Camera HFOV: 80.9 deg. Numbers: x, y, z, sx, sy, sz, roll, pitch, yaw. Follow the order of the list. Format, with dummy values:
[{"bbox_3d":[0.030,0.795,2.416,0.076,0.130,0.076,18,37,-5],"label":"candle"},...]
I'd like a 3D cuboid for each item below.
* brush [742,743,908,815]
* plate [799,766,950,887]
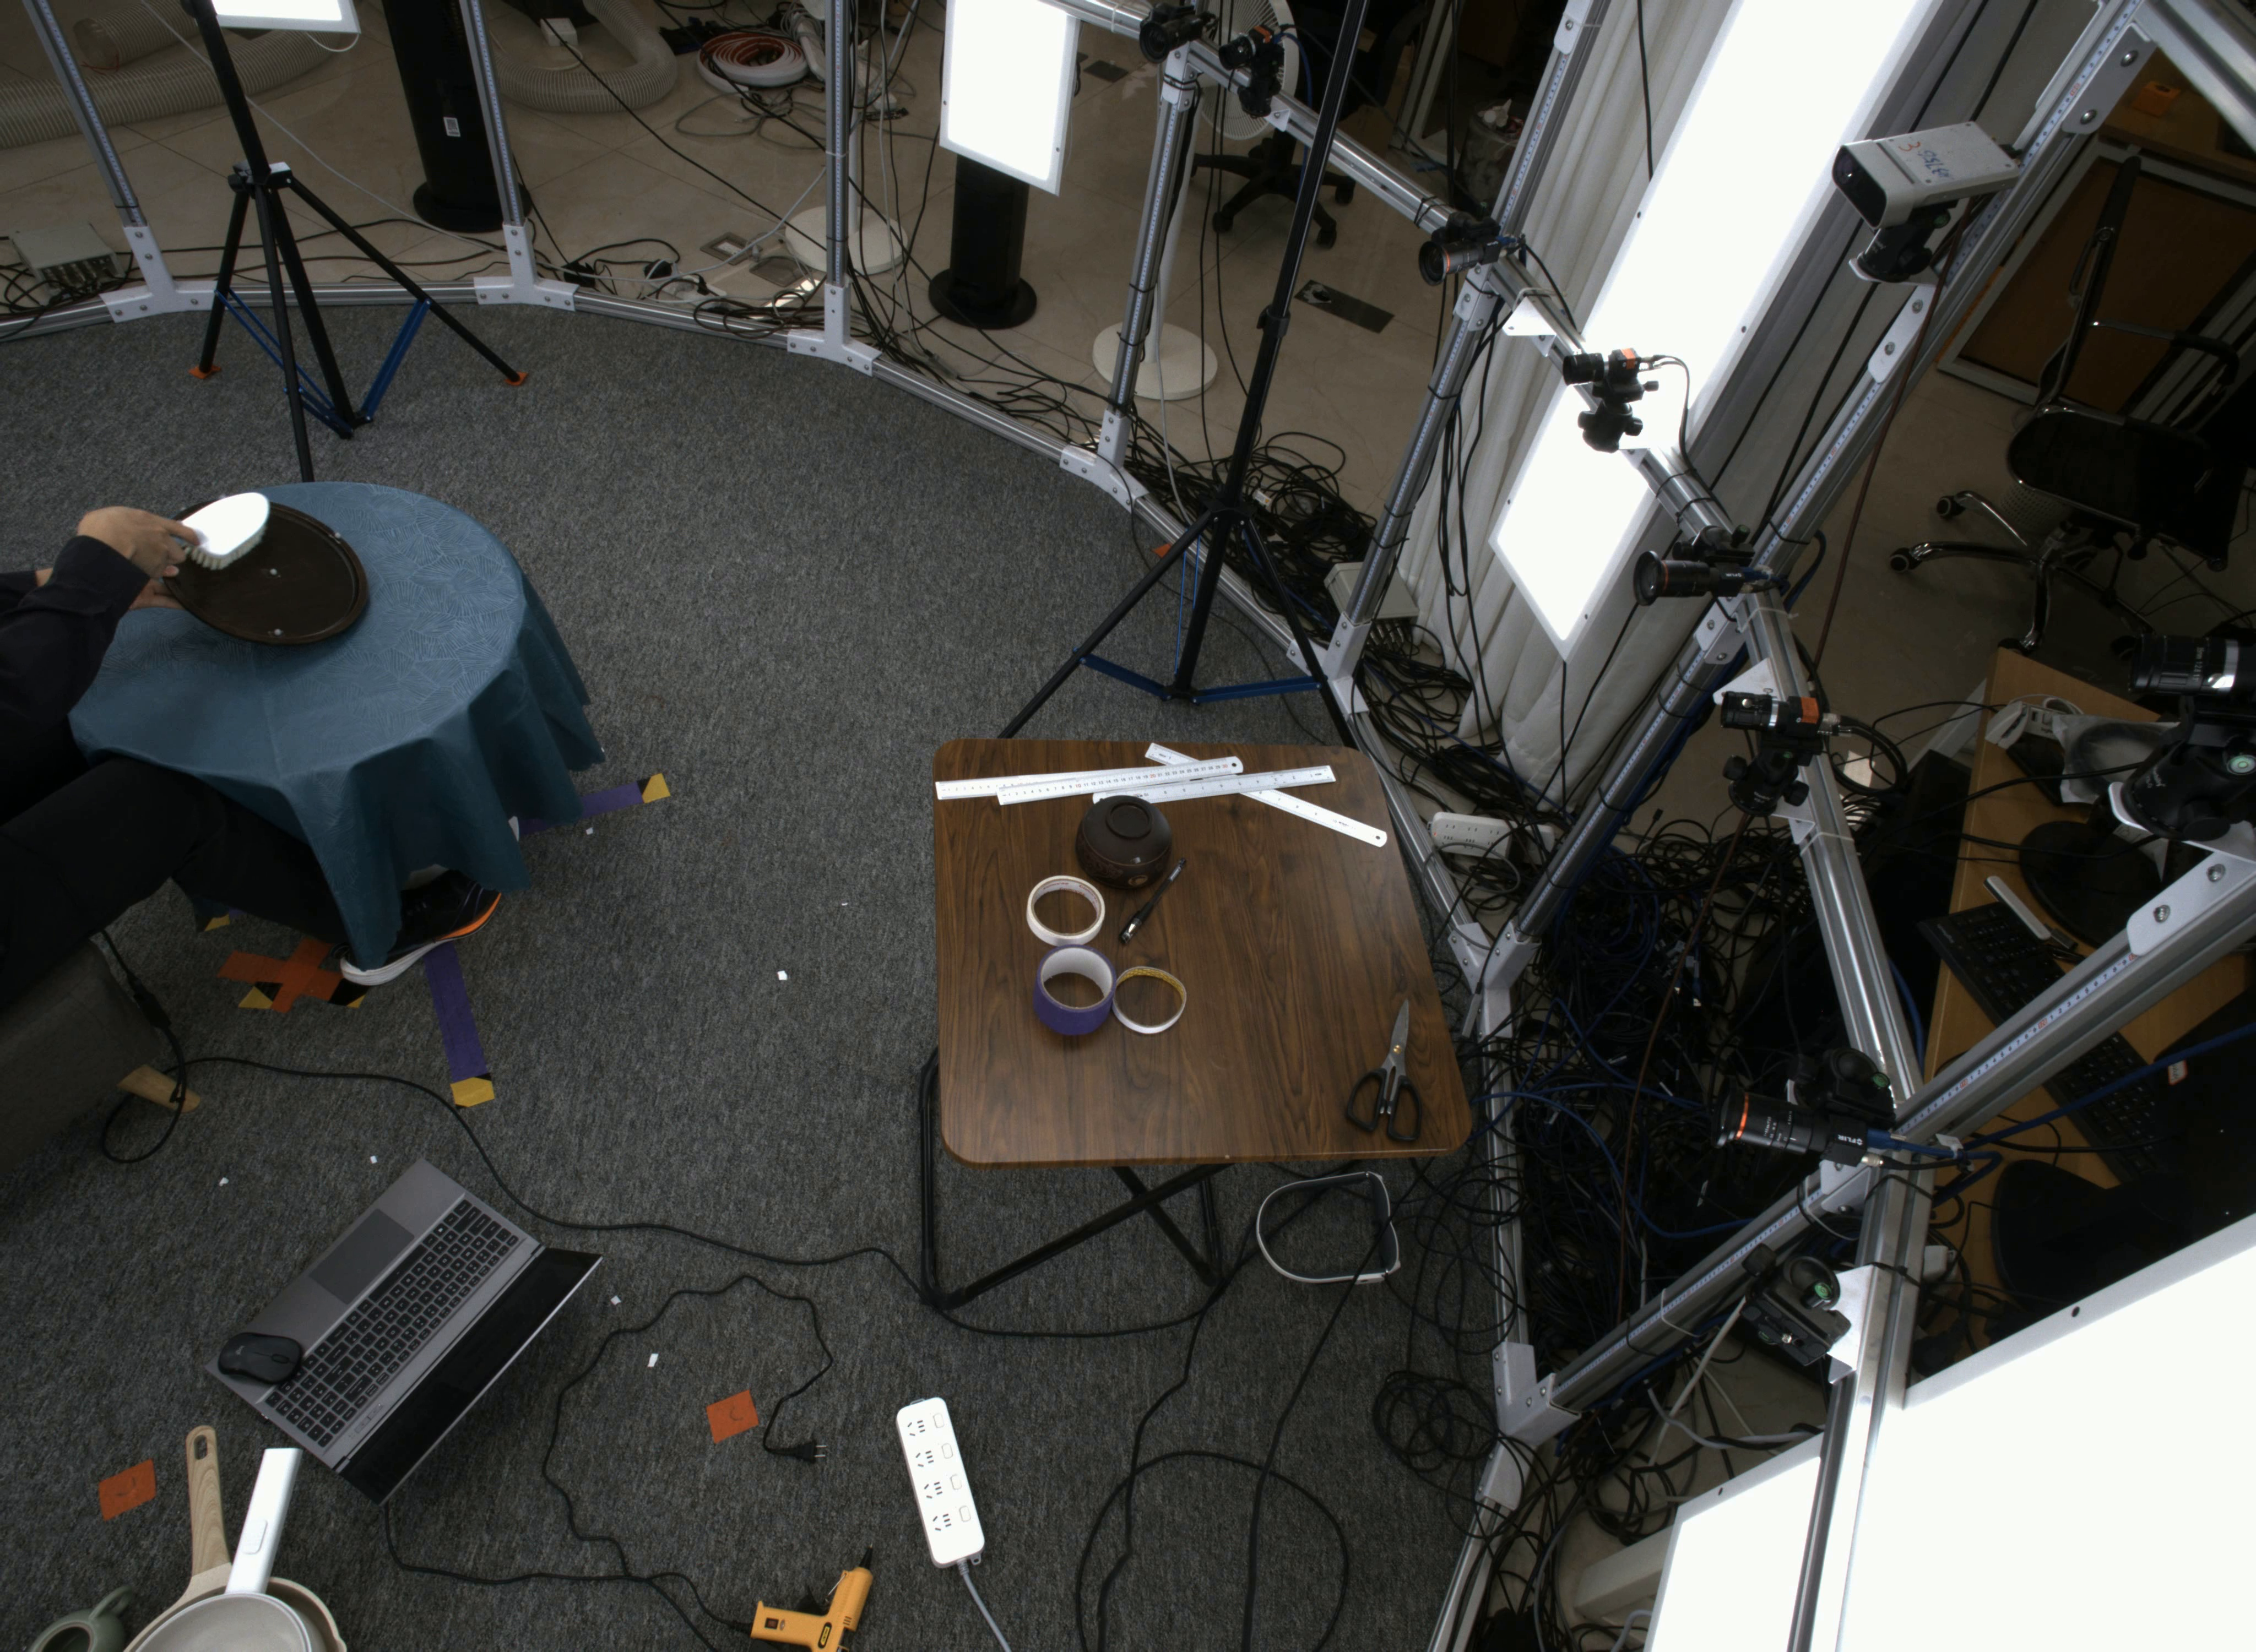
[{"bbox_3d":[-0.477,-0.068,2.005,0.080,0.085,0.333,12,1,36],"label":"brush"},{"bbox_3d":[-0.403,-0.001,2.068,0.258,0.029,0.249,25,37,-18],"label":"plate"}]
